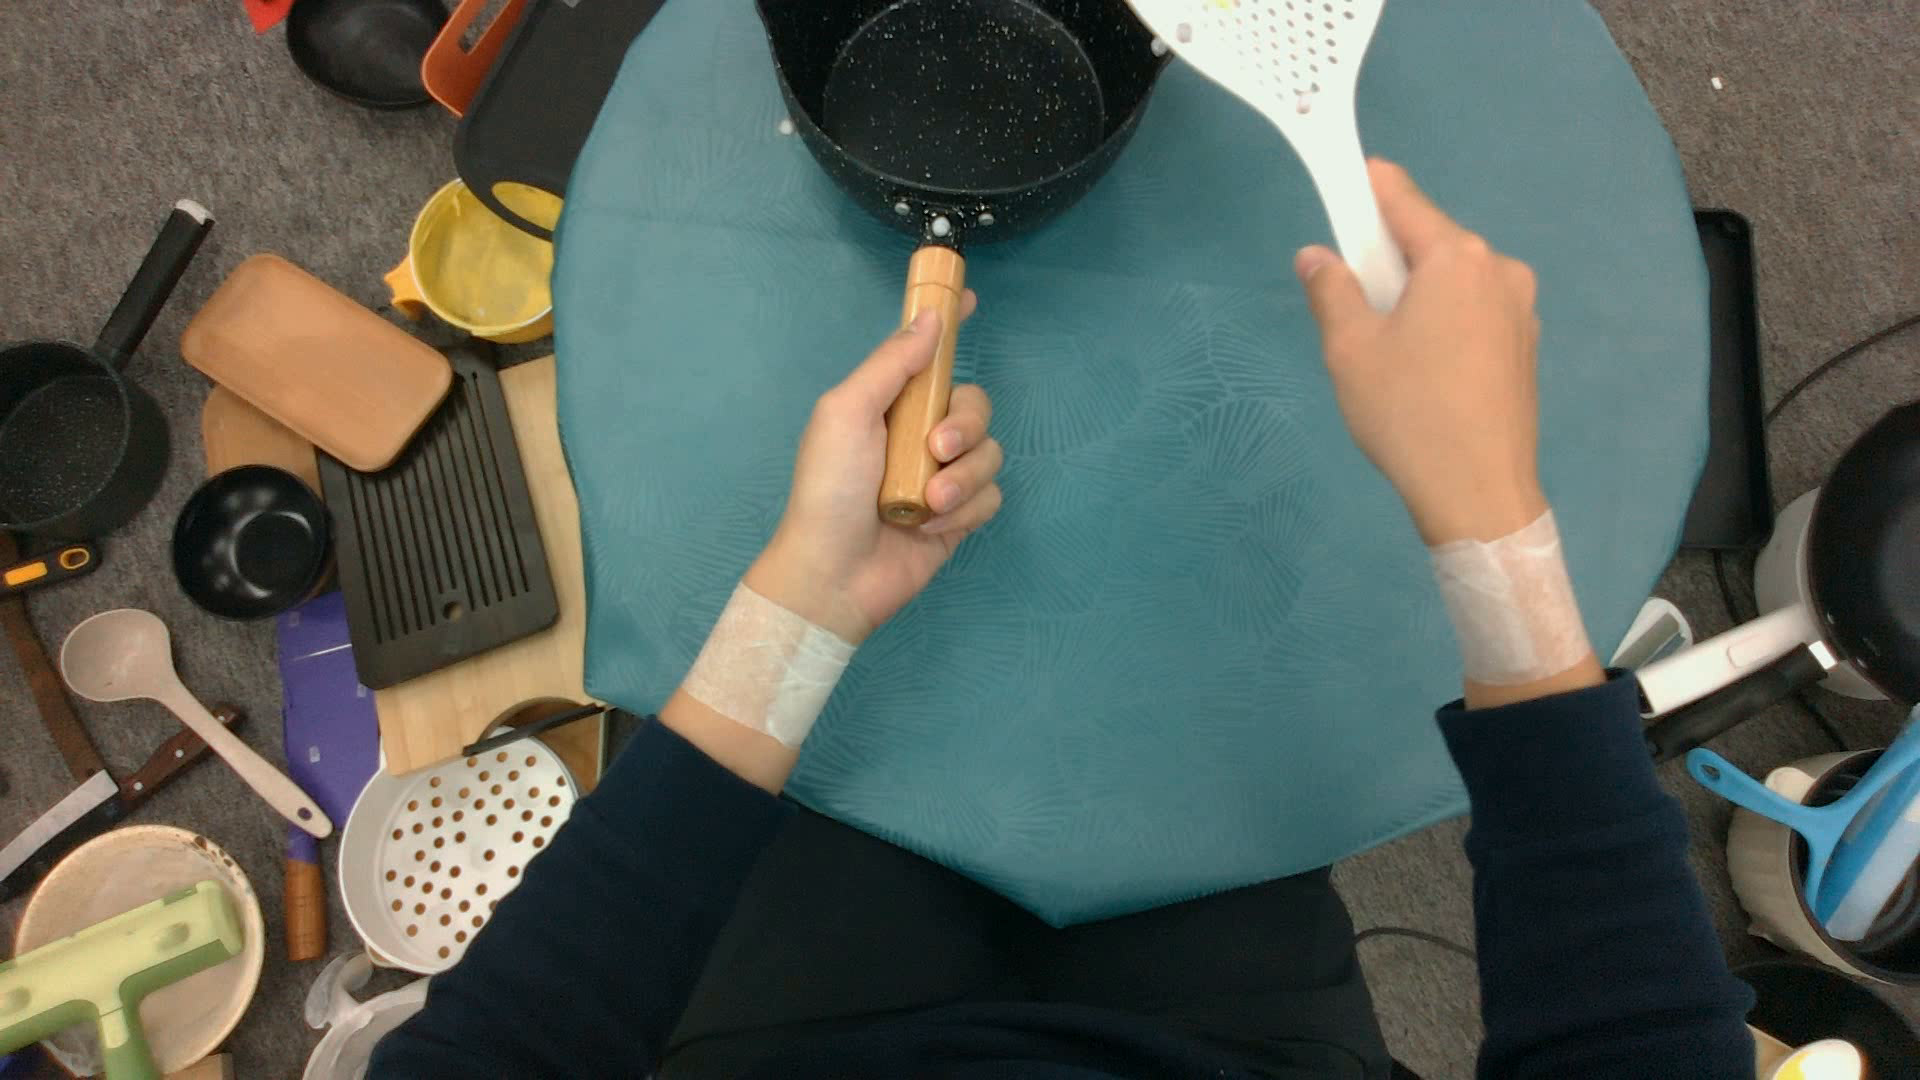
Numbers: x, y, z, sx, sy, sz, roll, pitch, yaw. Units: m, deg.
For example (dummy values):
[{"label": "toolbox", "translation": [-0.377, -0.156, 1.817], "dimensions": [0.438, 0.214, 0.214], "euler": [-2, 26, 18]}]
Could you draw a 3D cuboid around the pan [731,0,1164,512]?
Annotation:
[{"label": "pan", "translation": [-0.012, -0.165, 0.653], "dimensions": [0.207, 0.108, 0.343], "euler": [5, 74, -2]}]

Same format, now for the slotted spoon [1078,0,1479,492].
[{"label": "slotted spoon", "translation": [0.132, -0.178, 0.578], "dimensions": [0.137, 0.050, 0.348], "euler": [-18, 69, -10]}]
